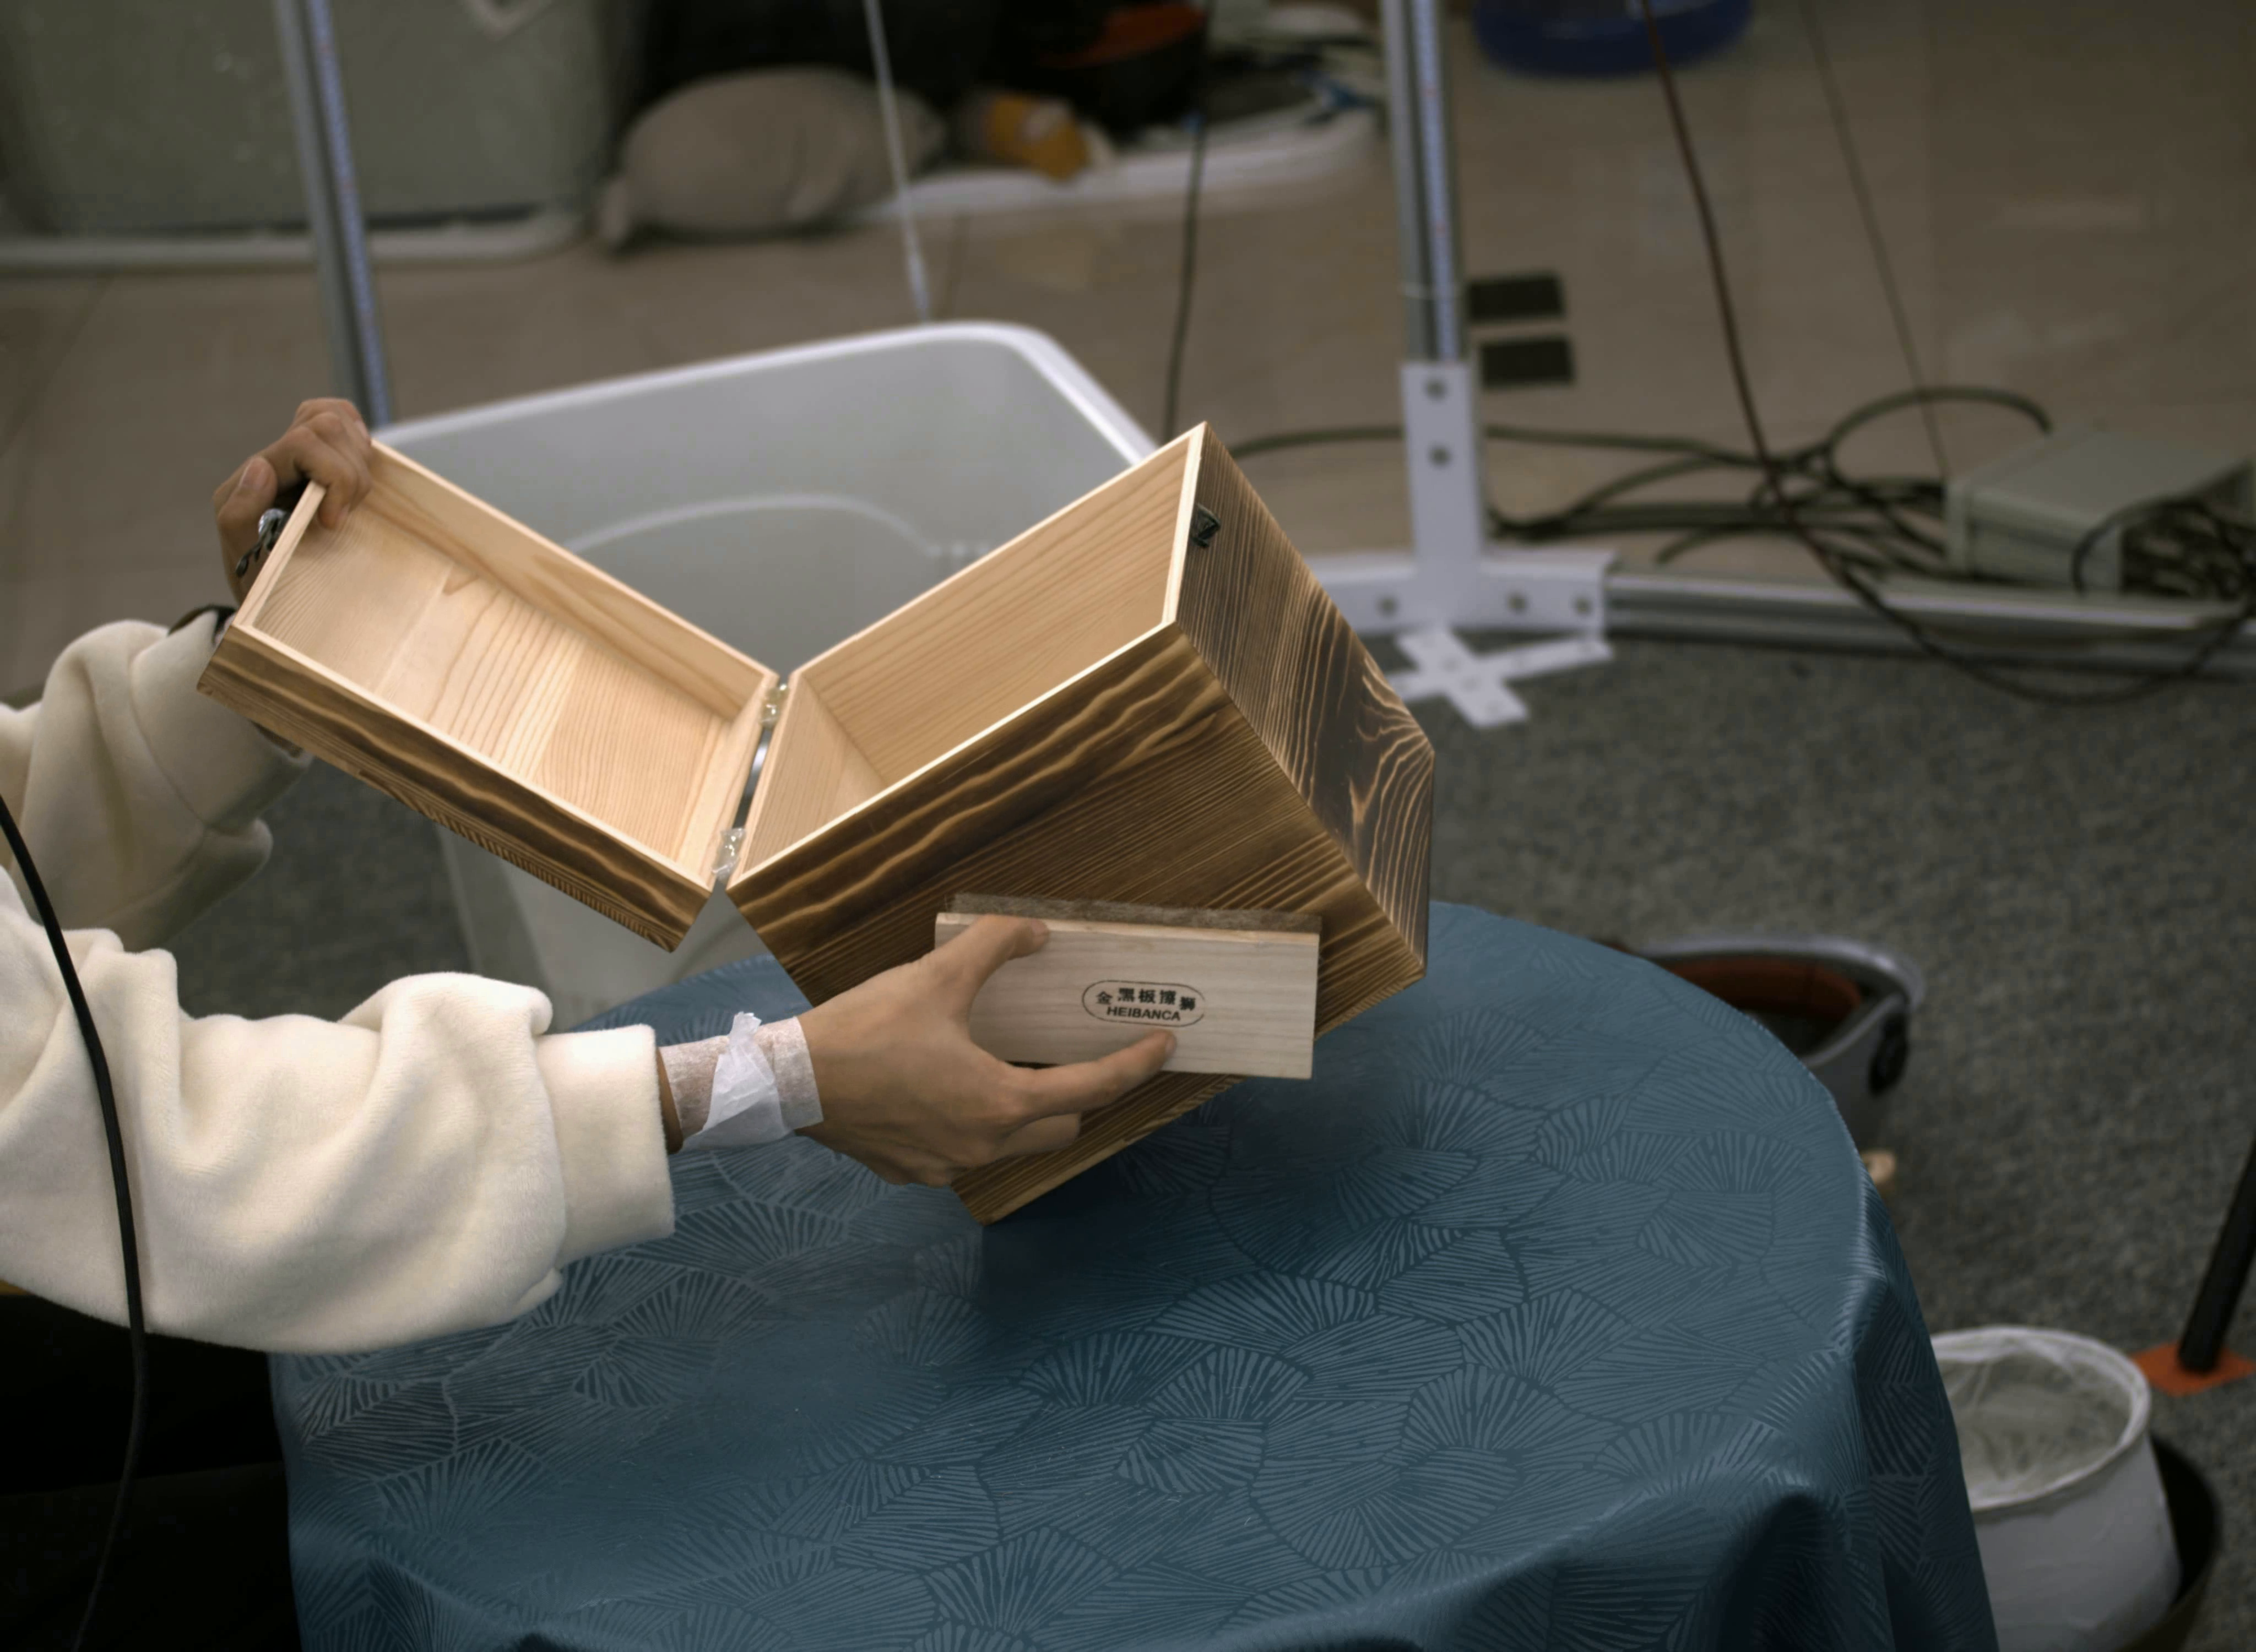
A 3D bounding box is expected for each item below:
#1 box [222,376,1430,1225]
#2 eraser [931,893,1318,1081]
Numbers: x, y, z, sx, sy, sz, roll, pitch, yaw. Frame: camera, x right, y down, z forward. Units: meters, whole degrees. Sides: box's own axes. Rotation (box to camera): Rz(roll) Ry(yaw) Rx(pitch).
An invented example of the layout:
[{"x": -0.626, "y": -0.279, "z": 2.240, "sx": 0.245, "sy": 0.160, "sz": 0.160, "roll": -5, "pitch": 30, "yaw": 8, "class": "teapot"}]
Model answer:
[{"x": -0.109, "y": -0.053, "z": 2.143, "sx": 0.323, "sy": 0.379, "sz": 0.205, "roll": -30, "pitch": 22, "yaw": 17, "class": "box"}, {"x": -0.001, "y": 0.057, "z": 2.069, "sx": 0.139, "sy": 0.058, "sz": 0.028, "roll": 5, "pitch": 28, "yaw": 3, "class": "eraser"}]
